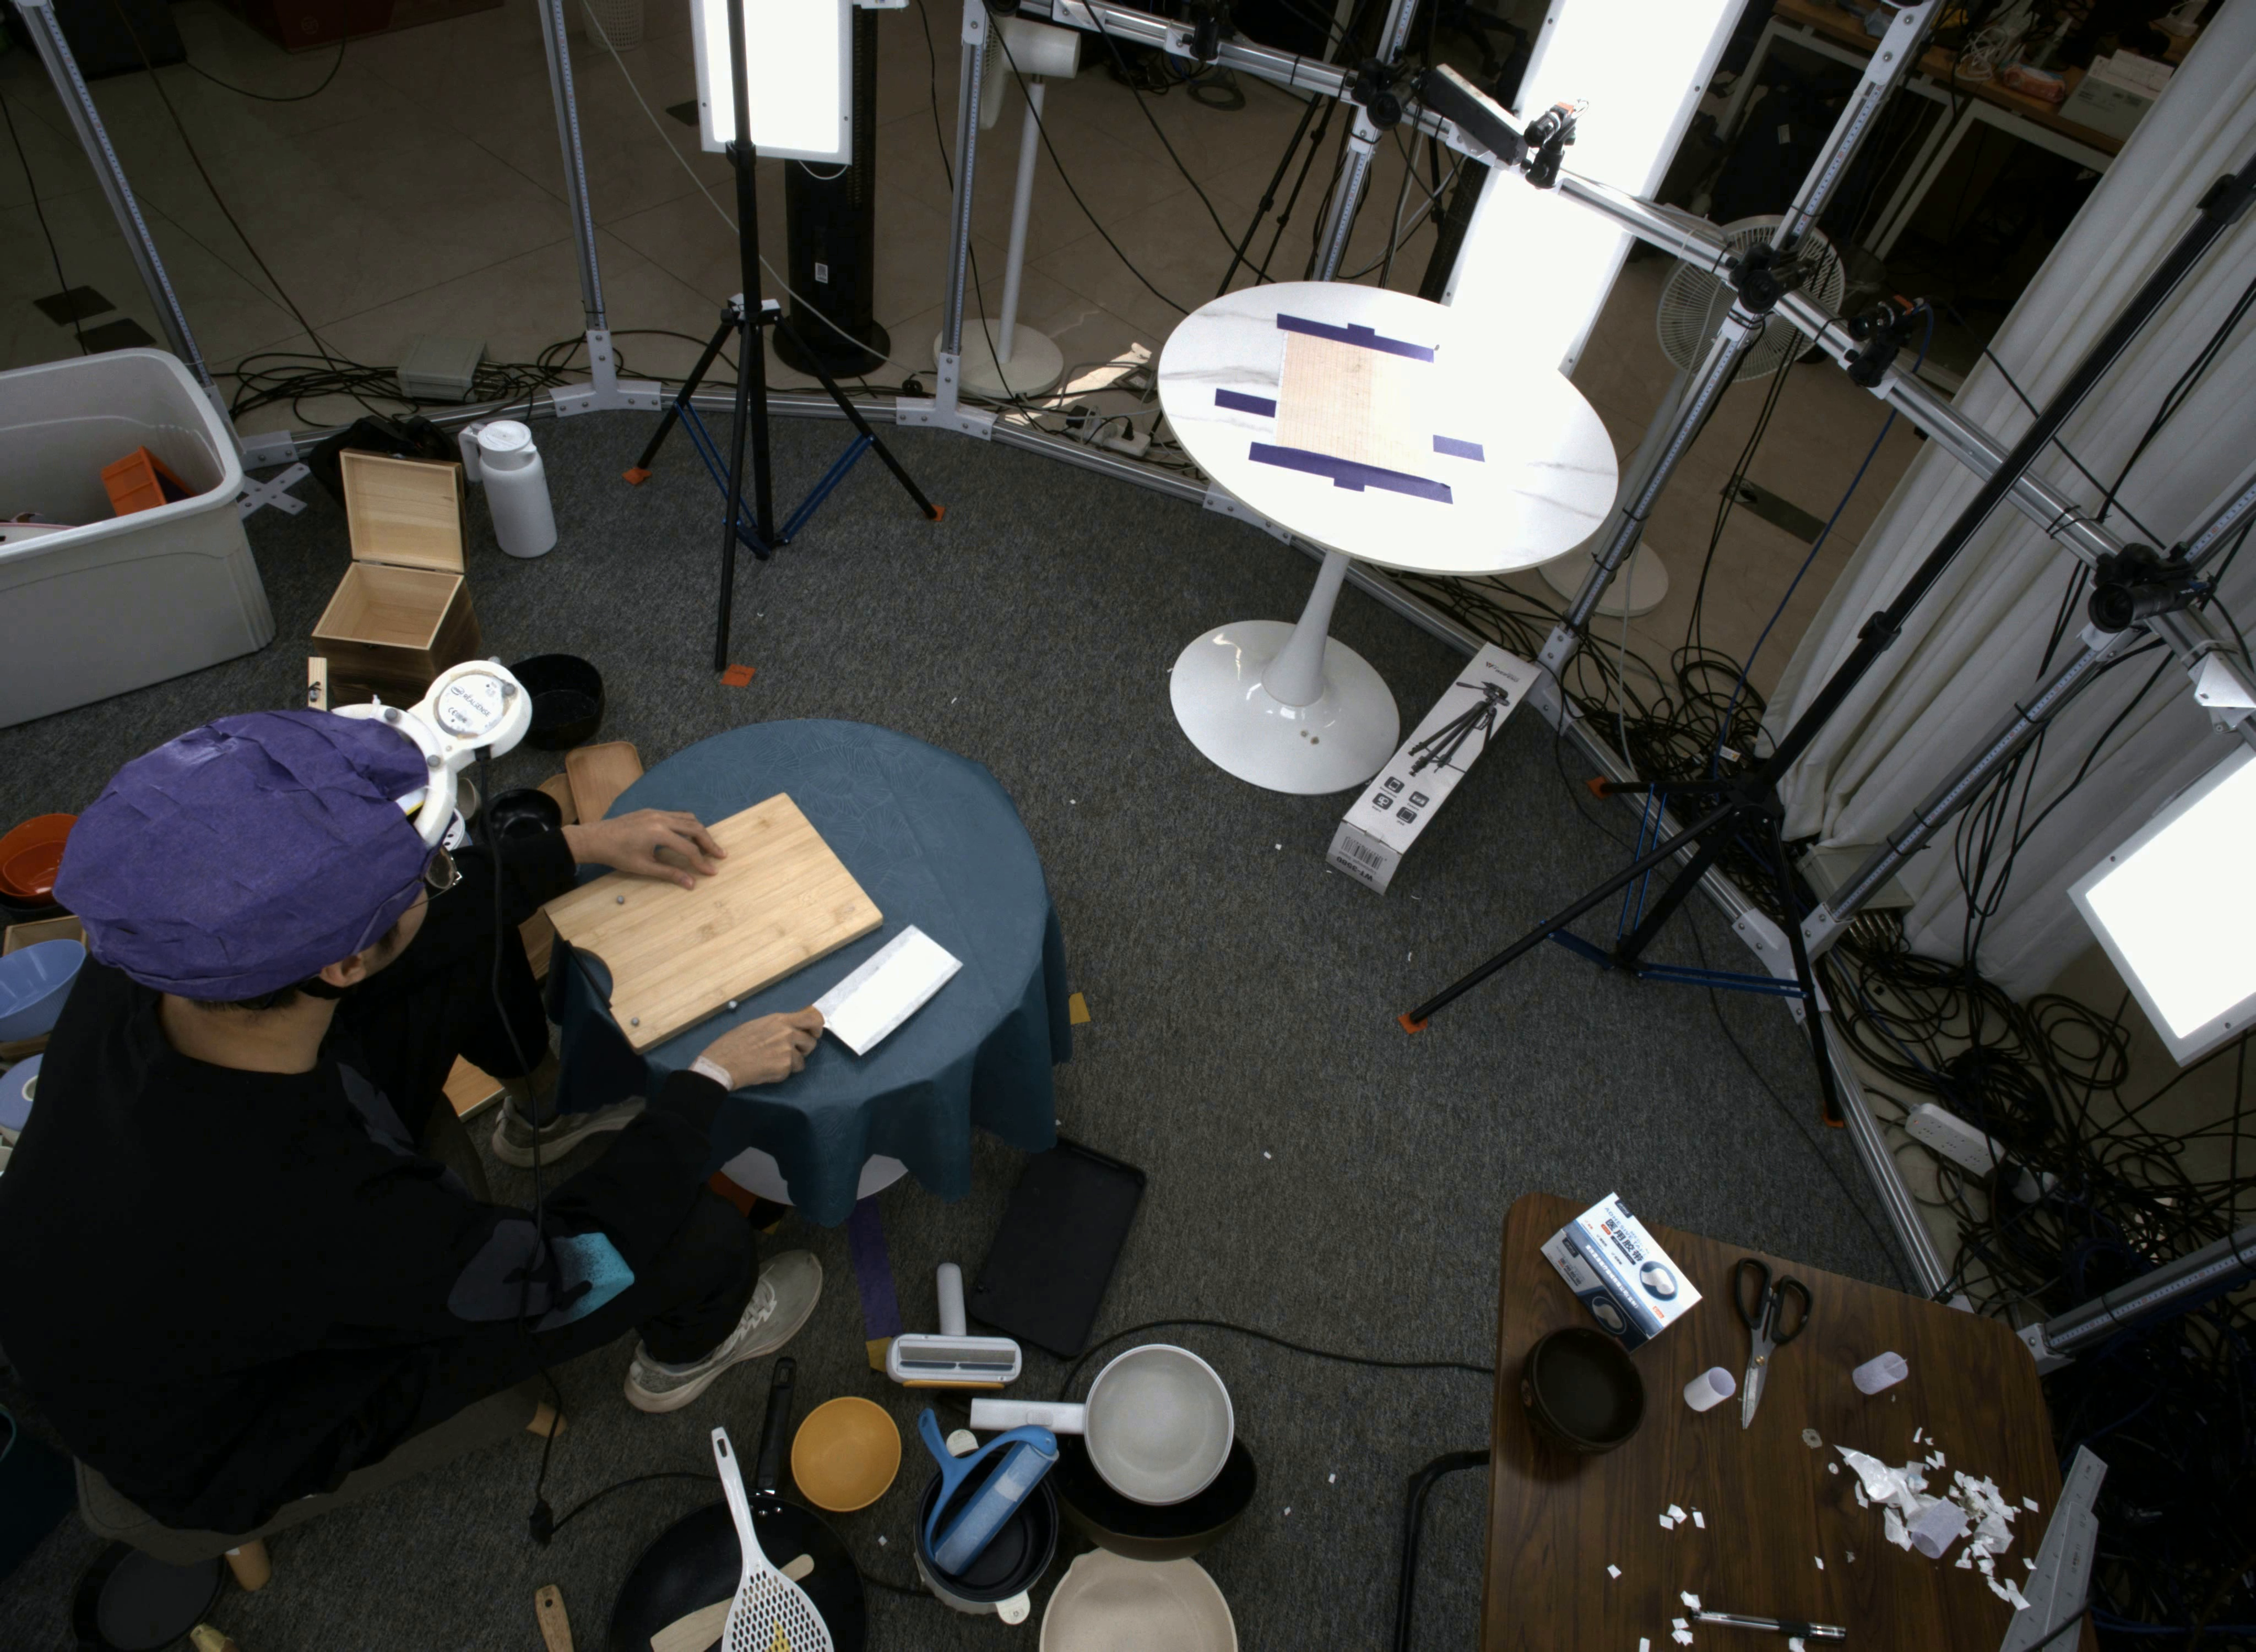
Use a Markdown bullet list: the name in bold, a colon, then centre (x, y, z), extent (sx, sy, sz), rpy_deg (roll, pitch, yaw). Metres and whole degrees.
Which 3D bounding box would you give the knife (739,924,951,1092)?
- **knife**: centre (-0.326, 0.223, 1.548), extent (0.091, 0.021, 0.306), rpy_deg (39, 48, 9)

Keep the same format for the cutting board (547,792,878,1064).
- **cutting board**: centre (-0.516, 0.112, 1.594), extent (0.350, 0.024, 0.245), rpy_deg (-31, 67, -32)
